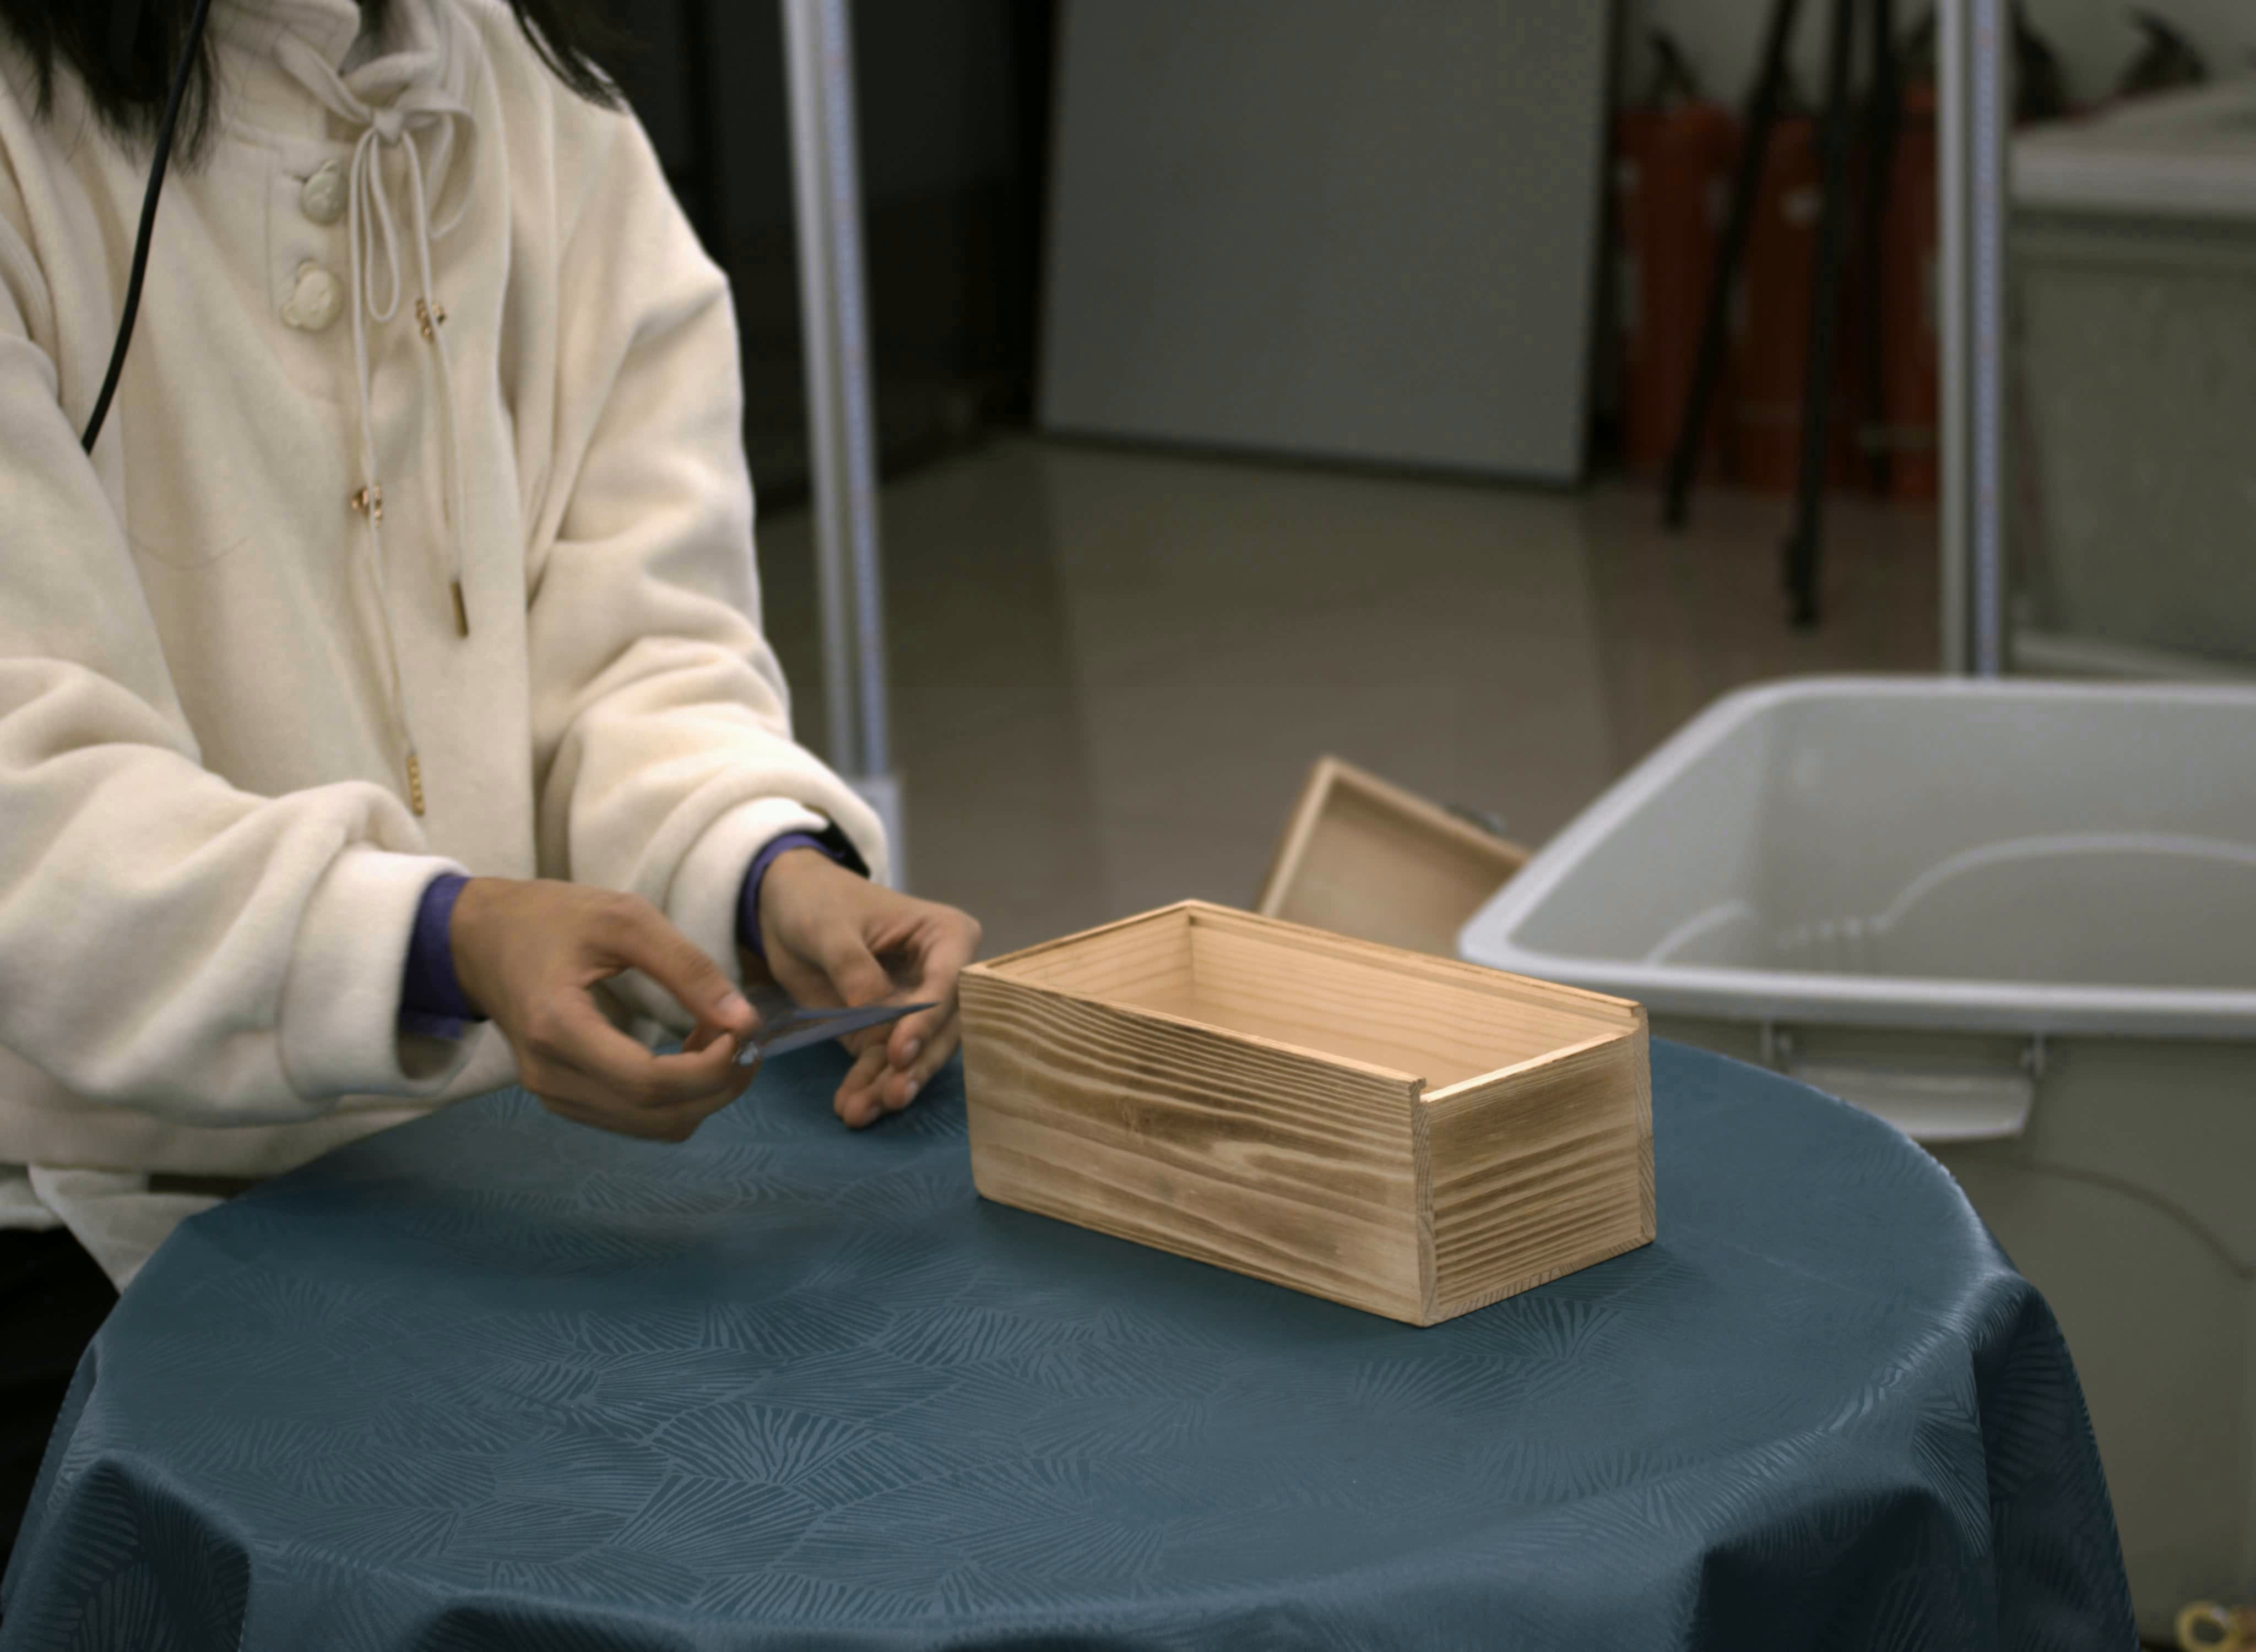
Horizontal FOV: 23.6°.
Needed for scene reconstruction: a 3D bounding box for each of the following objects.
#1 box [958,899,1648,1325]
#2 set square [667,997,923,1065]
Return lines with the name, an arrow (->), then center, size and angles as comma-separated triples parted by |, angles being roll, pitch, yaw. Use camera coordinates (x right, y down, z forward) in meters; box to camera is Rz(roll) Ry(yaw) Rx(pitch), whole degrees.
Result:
box -> 0.054, 0.088, 1.721 | 0.105, 0.081, 0.213 | -15, 17, -40
set square -> -0.123, 0.065, 1.730 | 0.061, 0.006, 0.130 | 1, 7, 31
